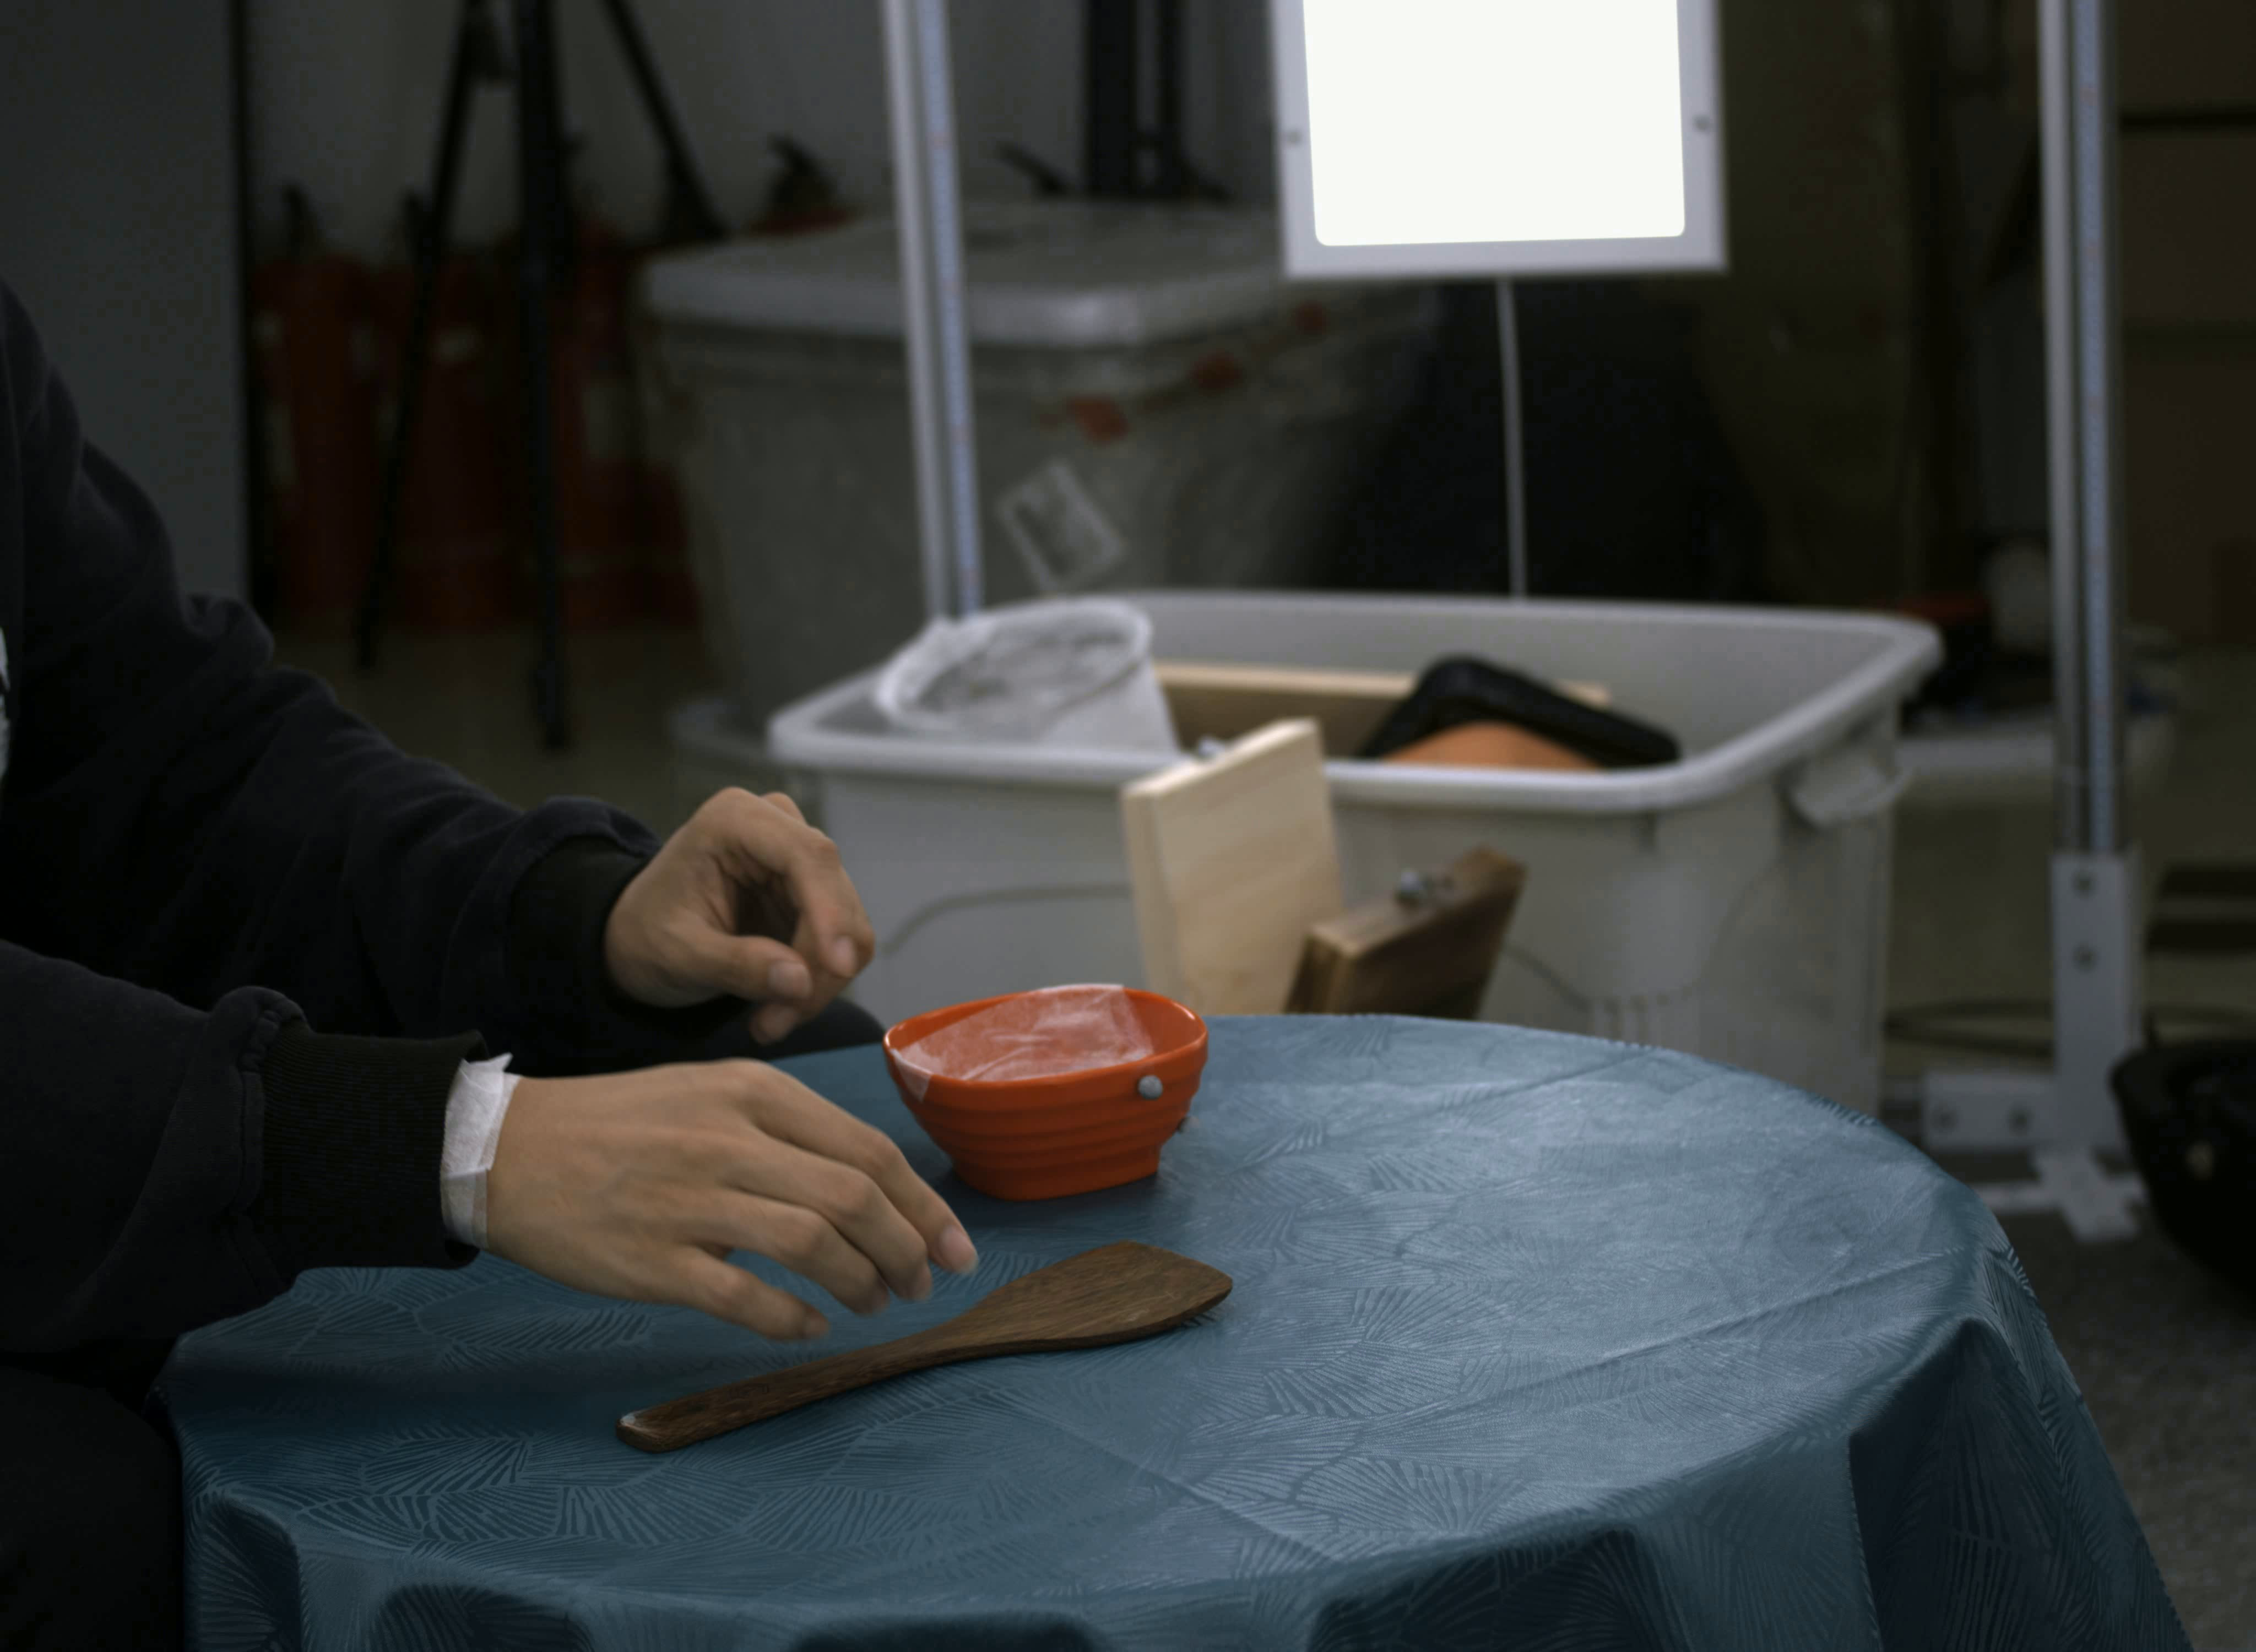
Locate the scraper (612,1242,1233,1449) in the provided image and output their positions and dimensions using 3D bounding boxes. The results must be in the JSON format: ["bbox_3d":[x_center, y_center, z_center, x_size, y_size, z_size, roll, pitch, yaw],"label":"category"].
[{"bbox_3d":[-0.067,0.166,1.743,0.206,0.011,0.077,-14,15,-30],"label":"scraper"}]

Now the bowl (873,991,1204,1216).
[{"bbox_3d":[-0.031,0.100,1.926,0.118,0.051,0.119,-2,17,-1],"label":"bowl"}]
